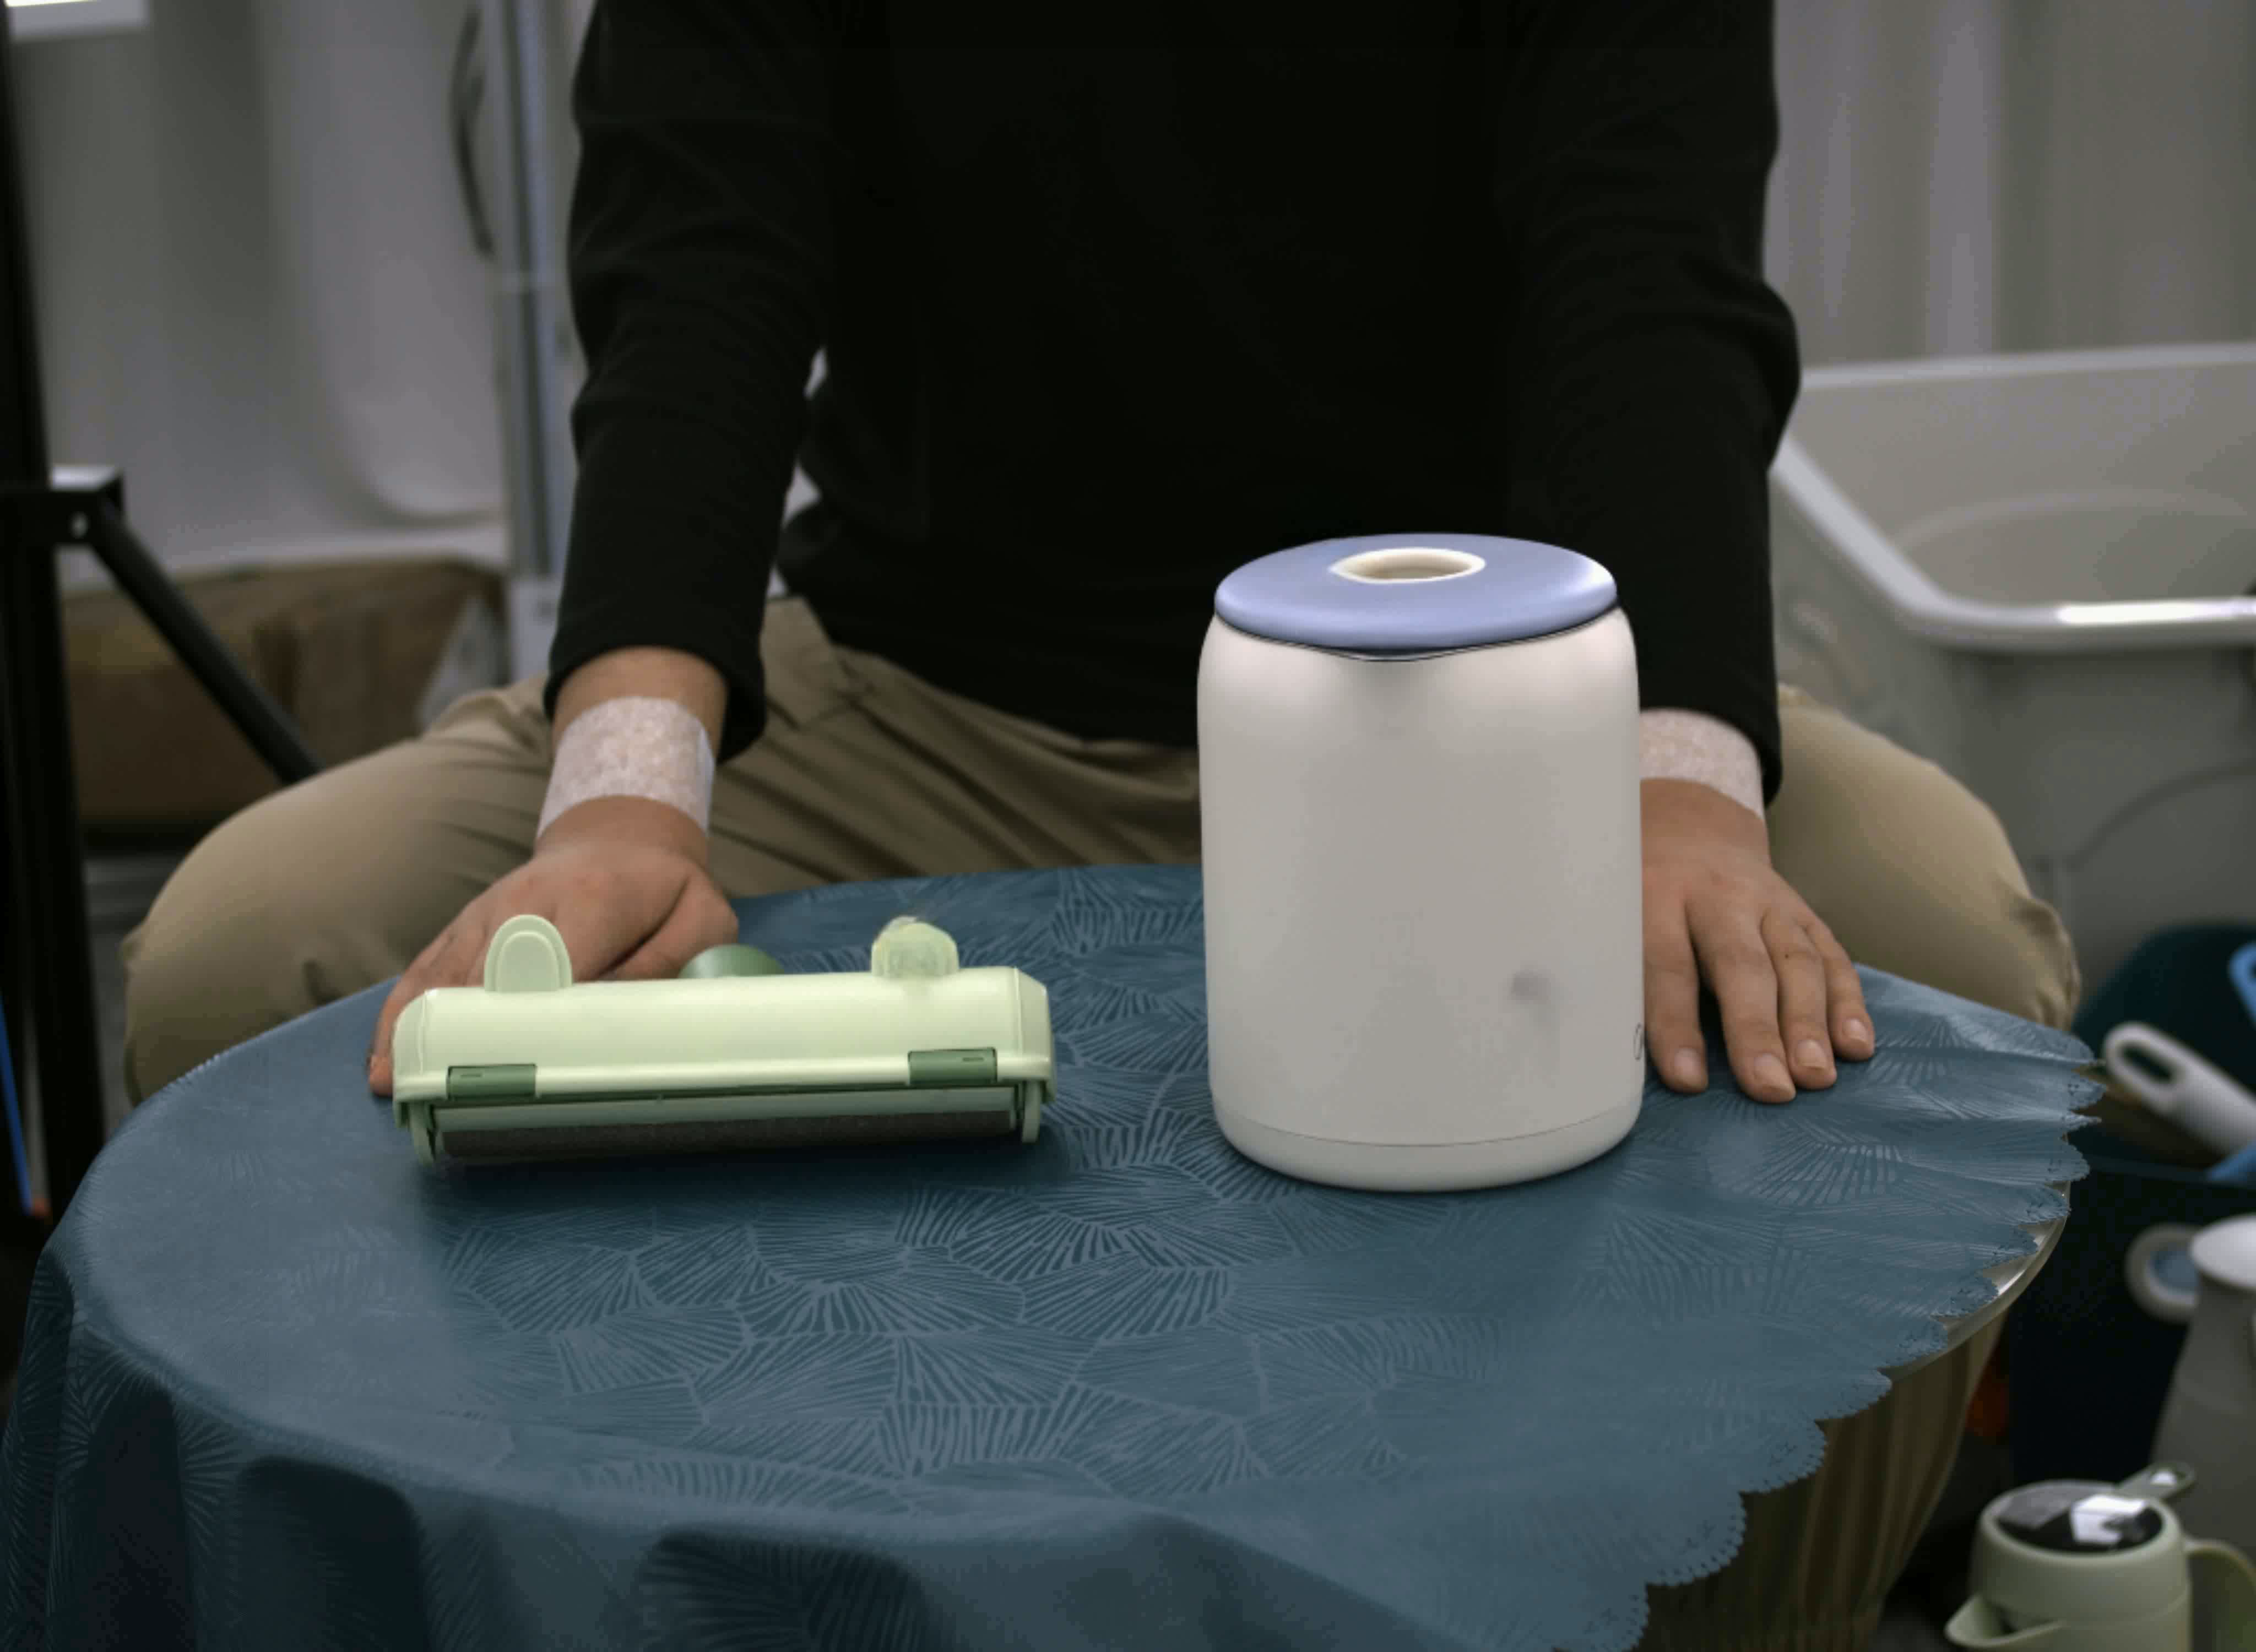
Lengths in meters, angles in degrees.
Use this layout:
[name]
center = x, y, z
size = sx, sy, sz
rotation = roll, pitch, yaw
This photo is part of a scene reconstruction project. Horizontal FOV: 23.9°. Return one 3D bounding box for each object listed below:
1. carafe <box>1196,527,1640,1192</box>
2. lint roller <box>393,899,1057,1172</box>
[carafe]
center = 0.090, 0.003, 1.600
size = 0.132, 0.182, 0.190
rotation = 1, 13, 8
[lint roller]
center = -0.123, 0.049, 1.647
size = 0.197, 0.082, 0.184
rotation = -2, 18, -2
